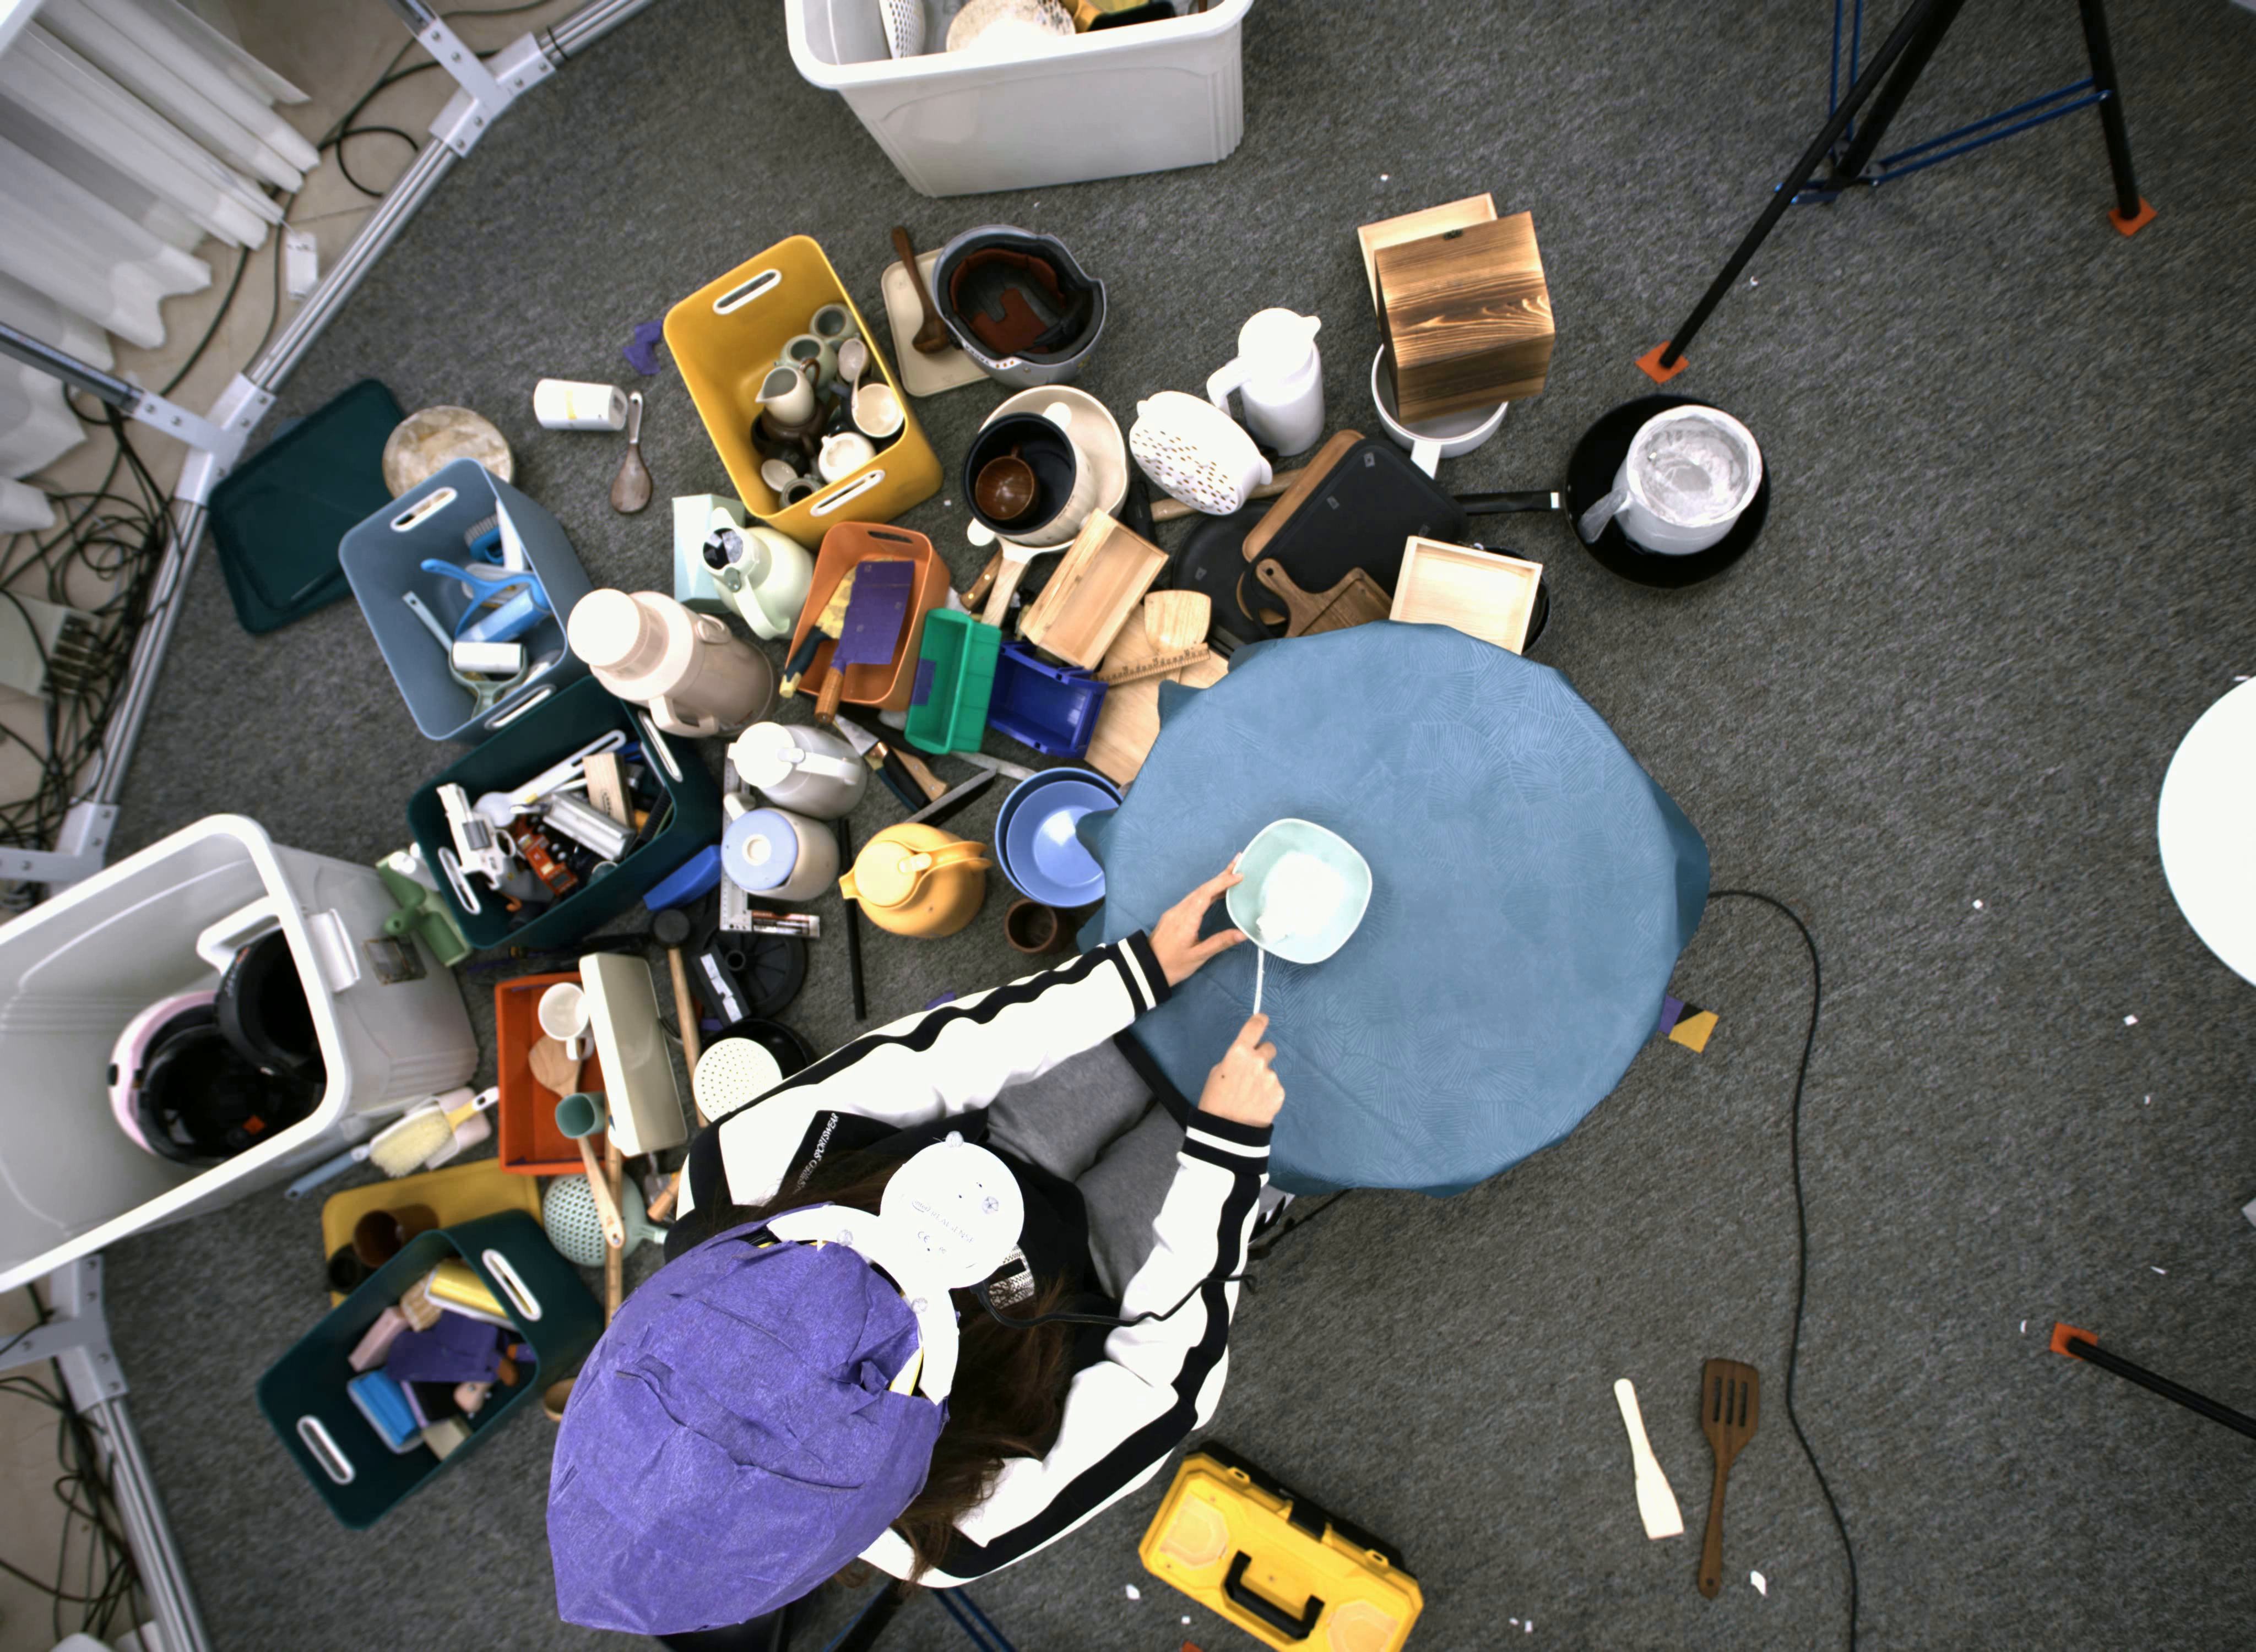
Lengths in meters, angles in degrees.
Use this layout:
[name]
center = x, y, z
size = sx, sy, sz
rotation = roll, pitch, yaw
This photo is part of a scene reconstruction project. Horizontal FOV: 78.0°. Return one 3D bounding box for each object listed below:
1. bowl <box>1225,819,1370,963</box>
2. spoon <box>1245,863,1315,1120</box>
[bowl]
center = 0.178, 0.068, 1.451
size = 0.152, 0.058, 0.151
rotation = -1, 87, 10
[spoon]
center = 0.151, 0.158, 1.371
size = 0.060, 0.102, 0.270
rotation = -4, 55, 16
